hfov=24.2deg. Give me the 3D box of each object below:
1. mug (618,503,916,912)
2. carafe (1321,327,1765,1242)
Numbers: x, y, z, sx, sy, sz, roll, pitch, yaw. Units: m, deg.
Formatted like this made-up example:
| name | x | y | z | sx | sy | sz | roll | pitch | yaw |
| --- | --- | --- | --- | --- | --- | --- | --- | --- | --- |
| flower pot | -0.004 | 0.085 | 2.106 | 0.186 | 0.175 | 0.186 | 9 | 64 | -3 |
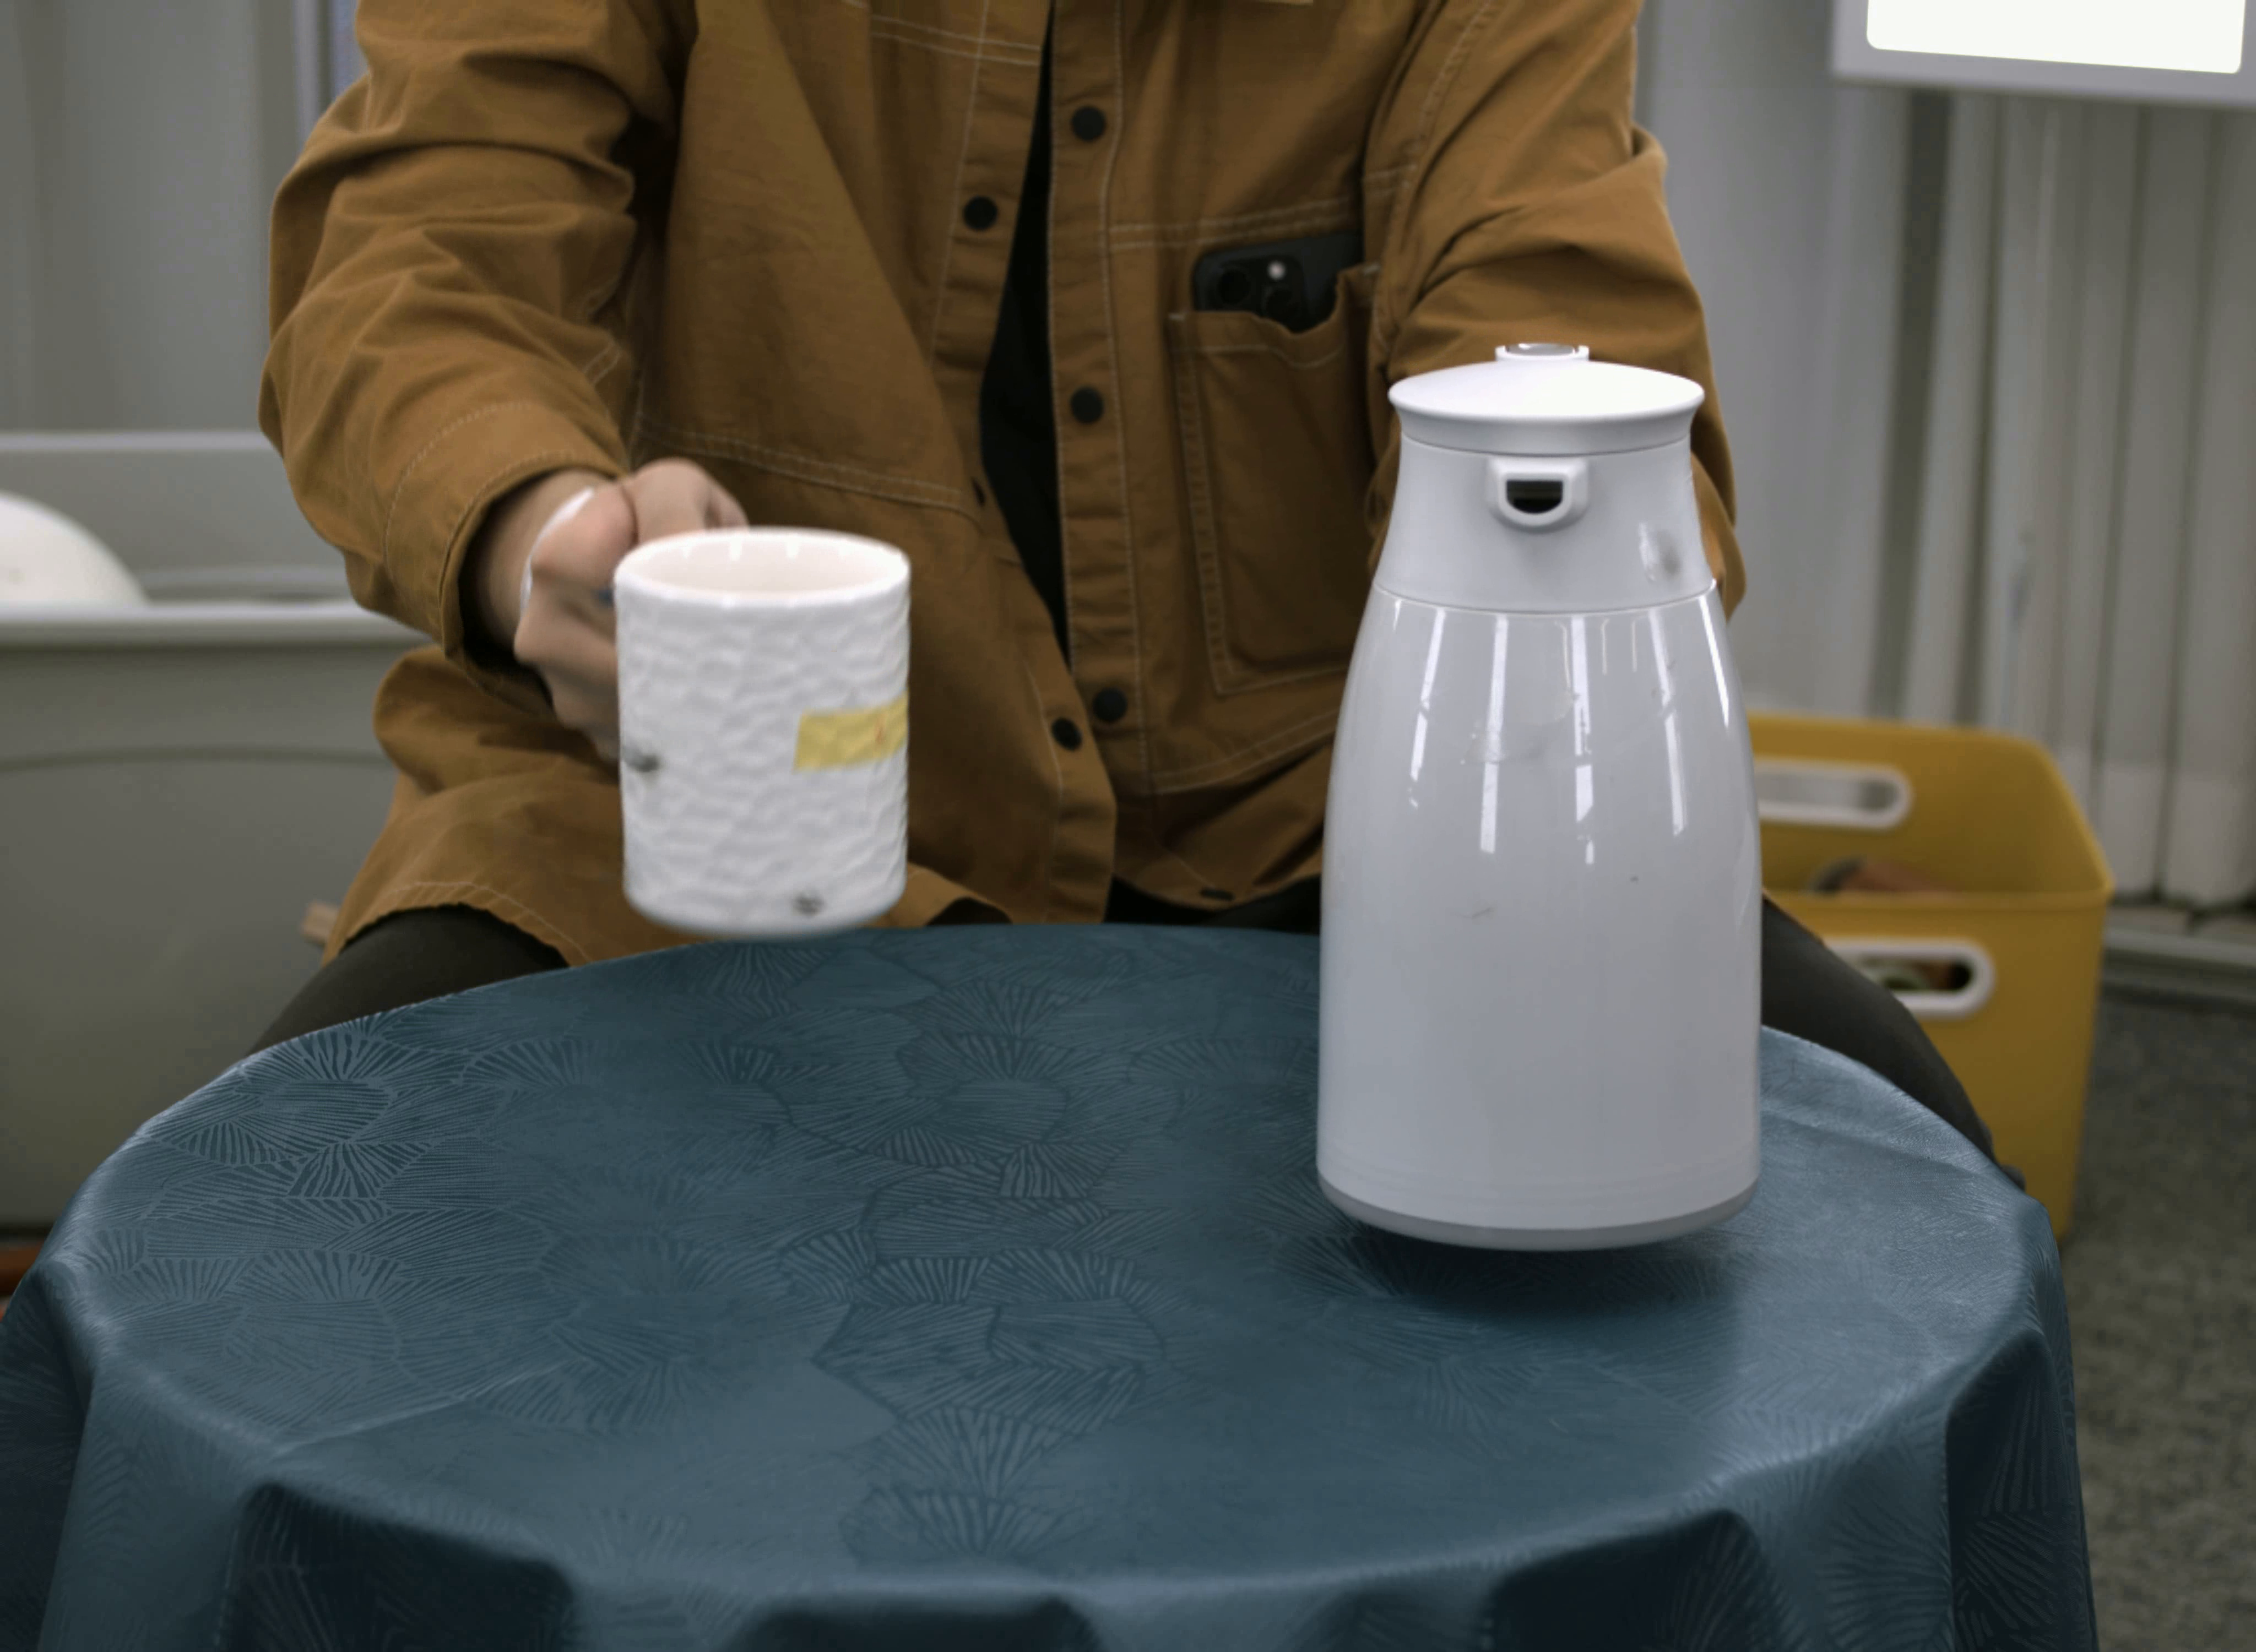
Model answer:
| name | x | y | z | sx | sy | sz | roll | pitch | yaw |
| --- | --- | --- | --- | --- | --- | --- | --- | --- | --- |
| mug | -0.112 | -0.038 | 1.533 | 0.085 | 0.103 | 0.117 | -9 | 19 | -29 |
| carafe | 0.123 | -0.020 | 1.560 | 0.132 | 0.250 | 0.167 | 0 | 15 | 6 |
